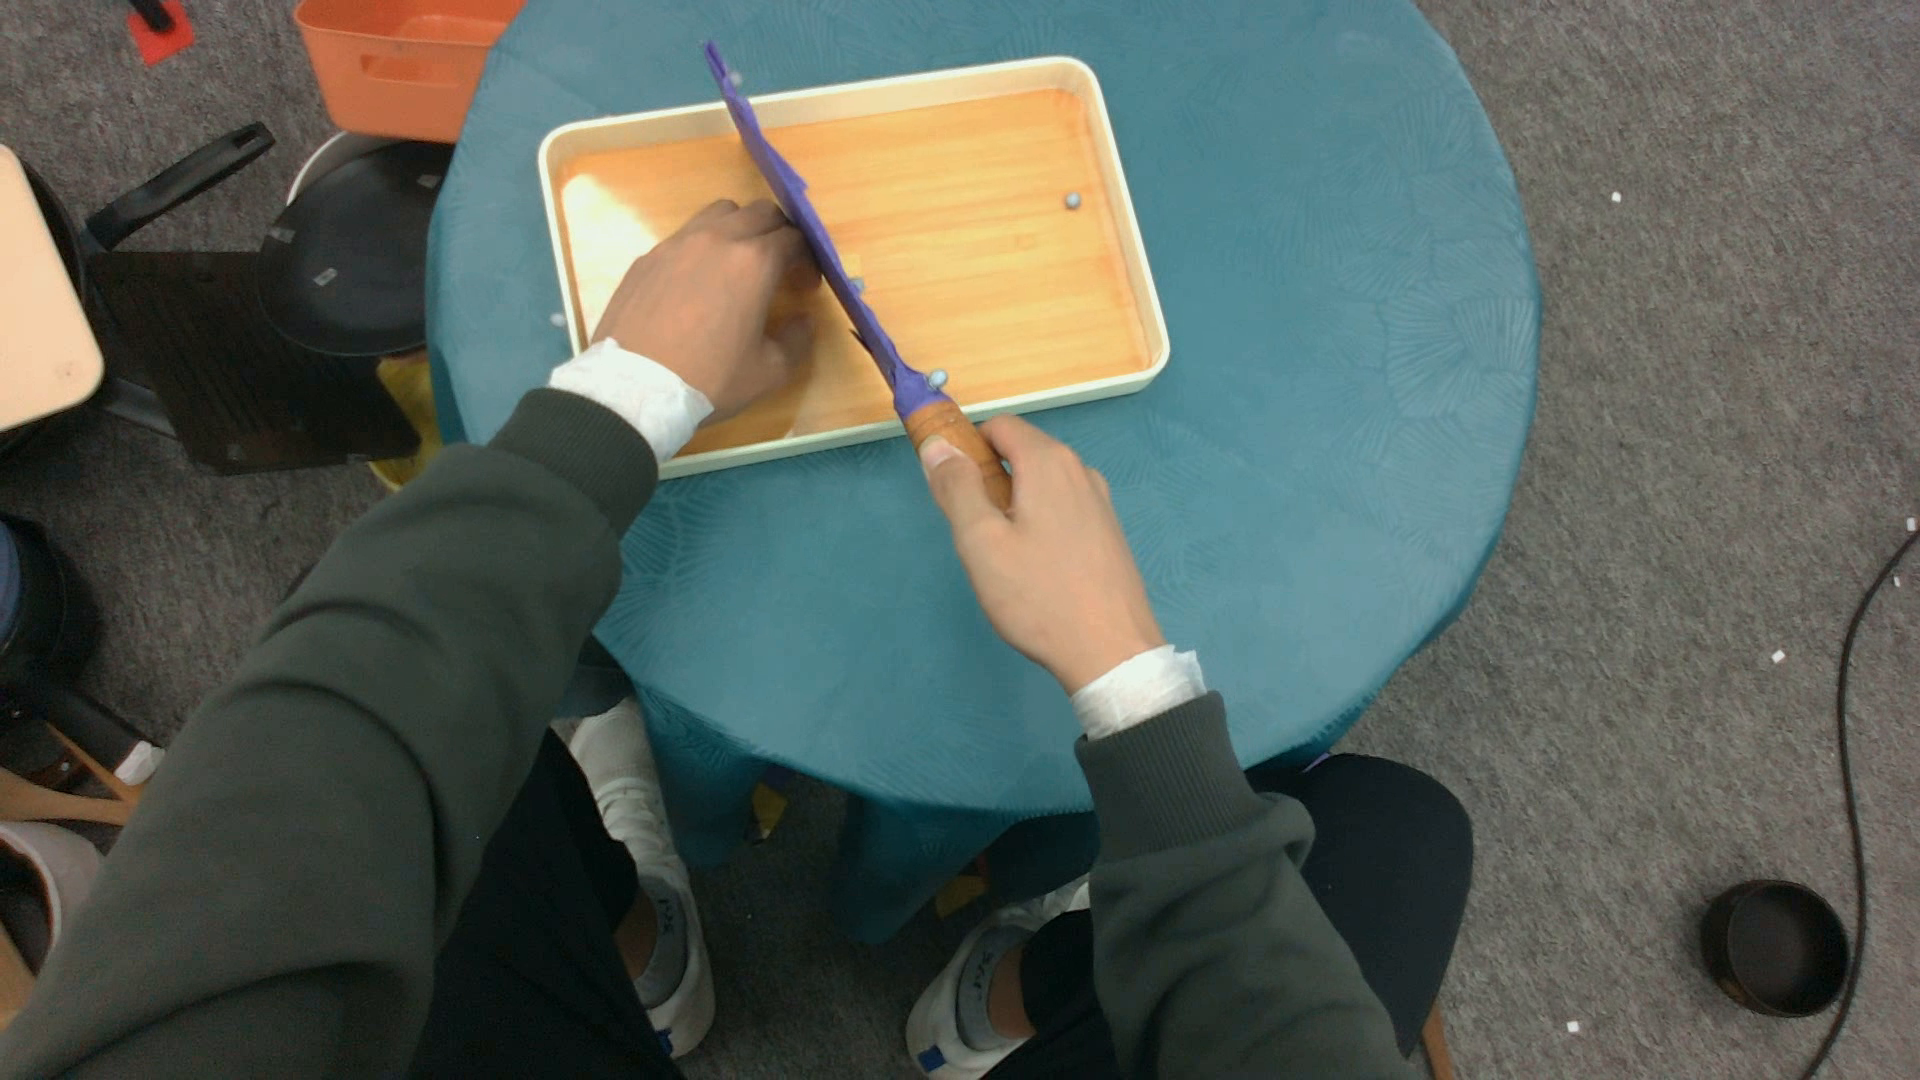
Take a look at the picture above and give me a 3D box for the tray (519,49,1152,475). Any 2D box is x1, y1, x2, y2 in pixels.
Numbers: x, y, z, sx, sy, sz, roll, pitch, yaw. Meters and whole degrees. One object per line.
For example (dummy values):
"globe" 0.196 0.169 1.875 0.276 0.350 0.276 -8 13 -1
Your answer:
"tray" -0.063 -0.151 0.721 0.301 0.027 0.192 -12 77 -11

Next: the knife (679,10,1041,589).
"knife" -0.050 -0.110 0.655 0.032 0.103 0.315 -29 75 -2
